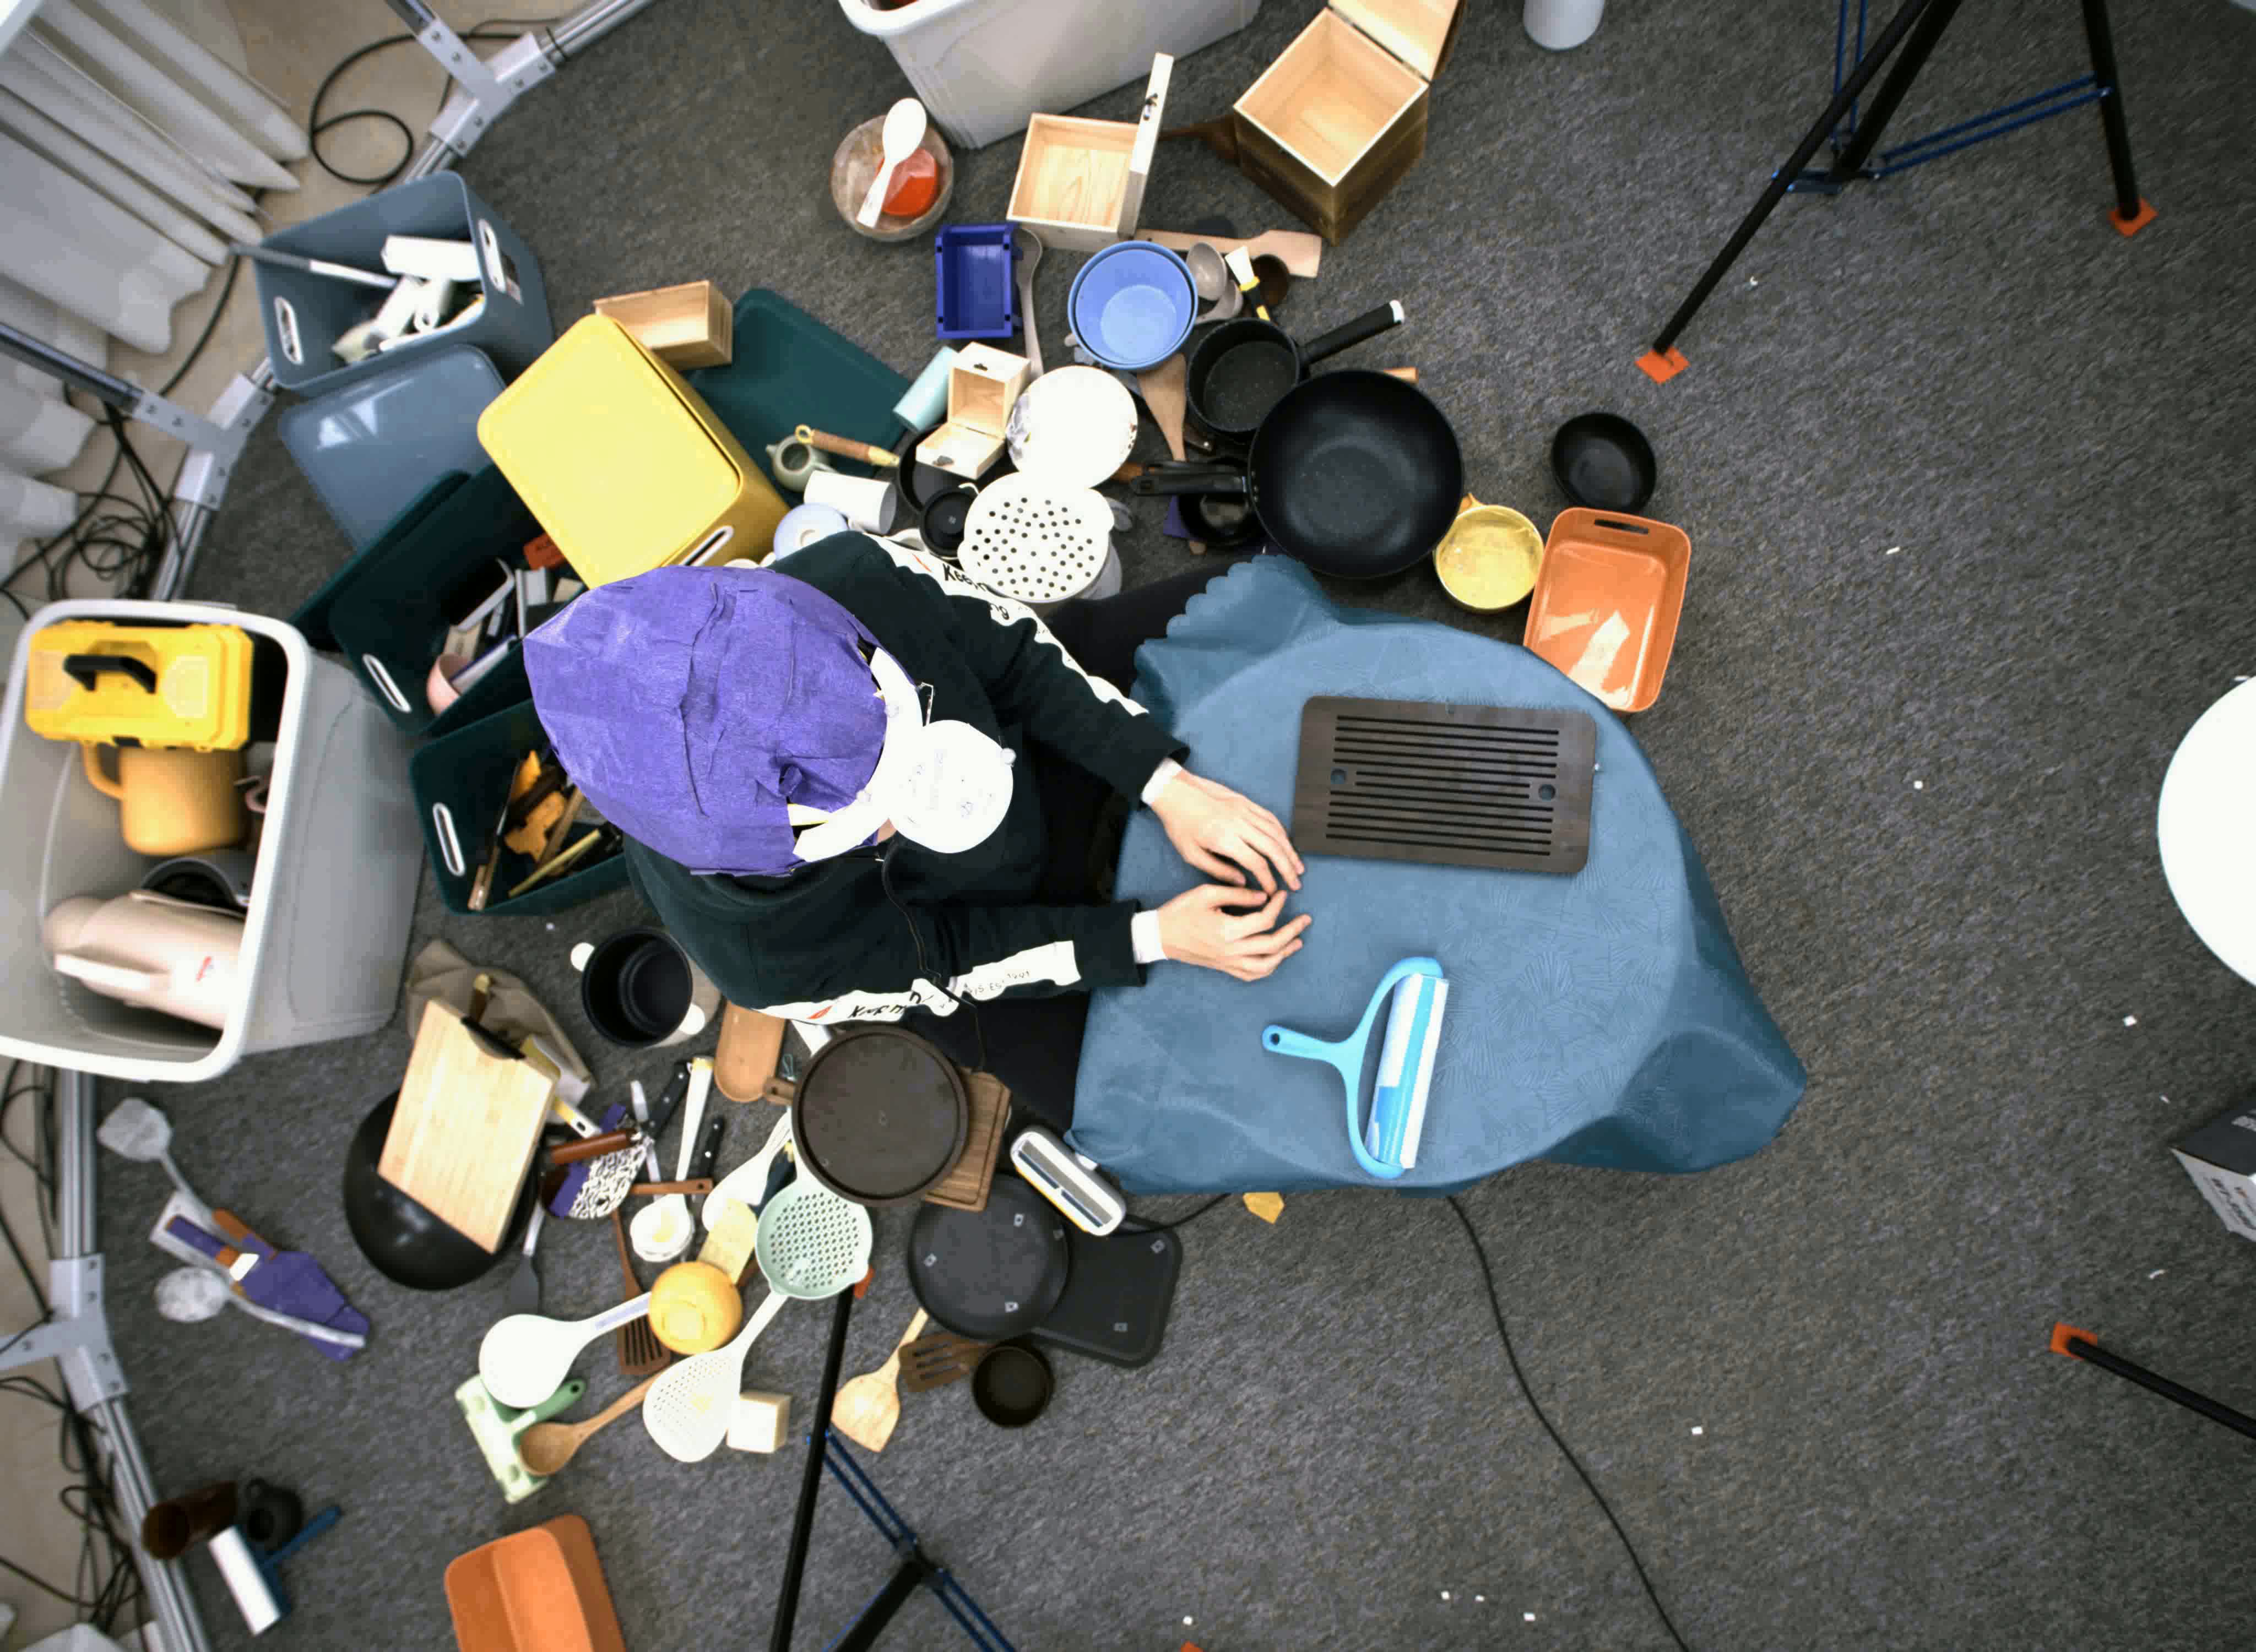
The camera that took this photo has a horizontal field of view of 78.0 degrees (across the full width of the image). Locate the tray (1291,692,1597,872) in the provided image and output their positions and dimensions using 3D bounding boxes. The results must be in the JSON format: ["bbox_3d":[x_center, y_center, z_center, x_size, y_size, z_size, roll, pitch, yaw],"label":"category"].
[{"bbox_3d":[0.329,-0.049,1.441,0.307,0.018,0.169,4,88,11],"label":"tray"}]

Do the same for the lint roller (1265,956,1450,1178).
[{"bbox_3d":[0.228,0.236,1.425,0.180,0.068,0.228,8,90,10],"label":"lint roller"}]
